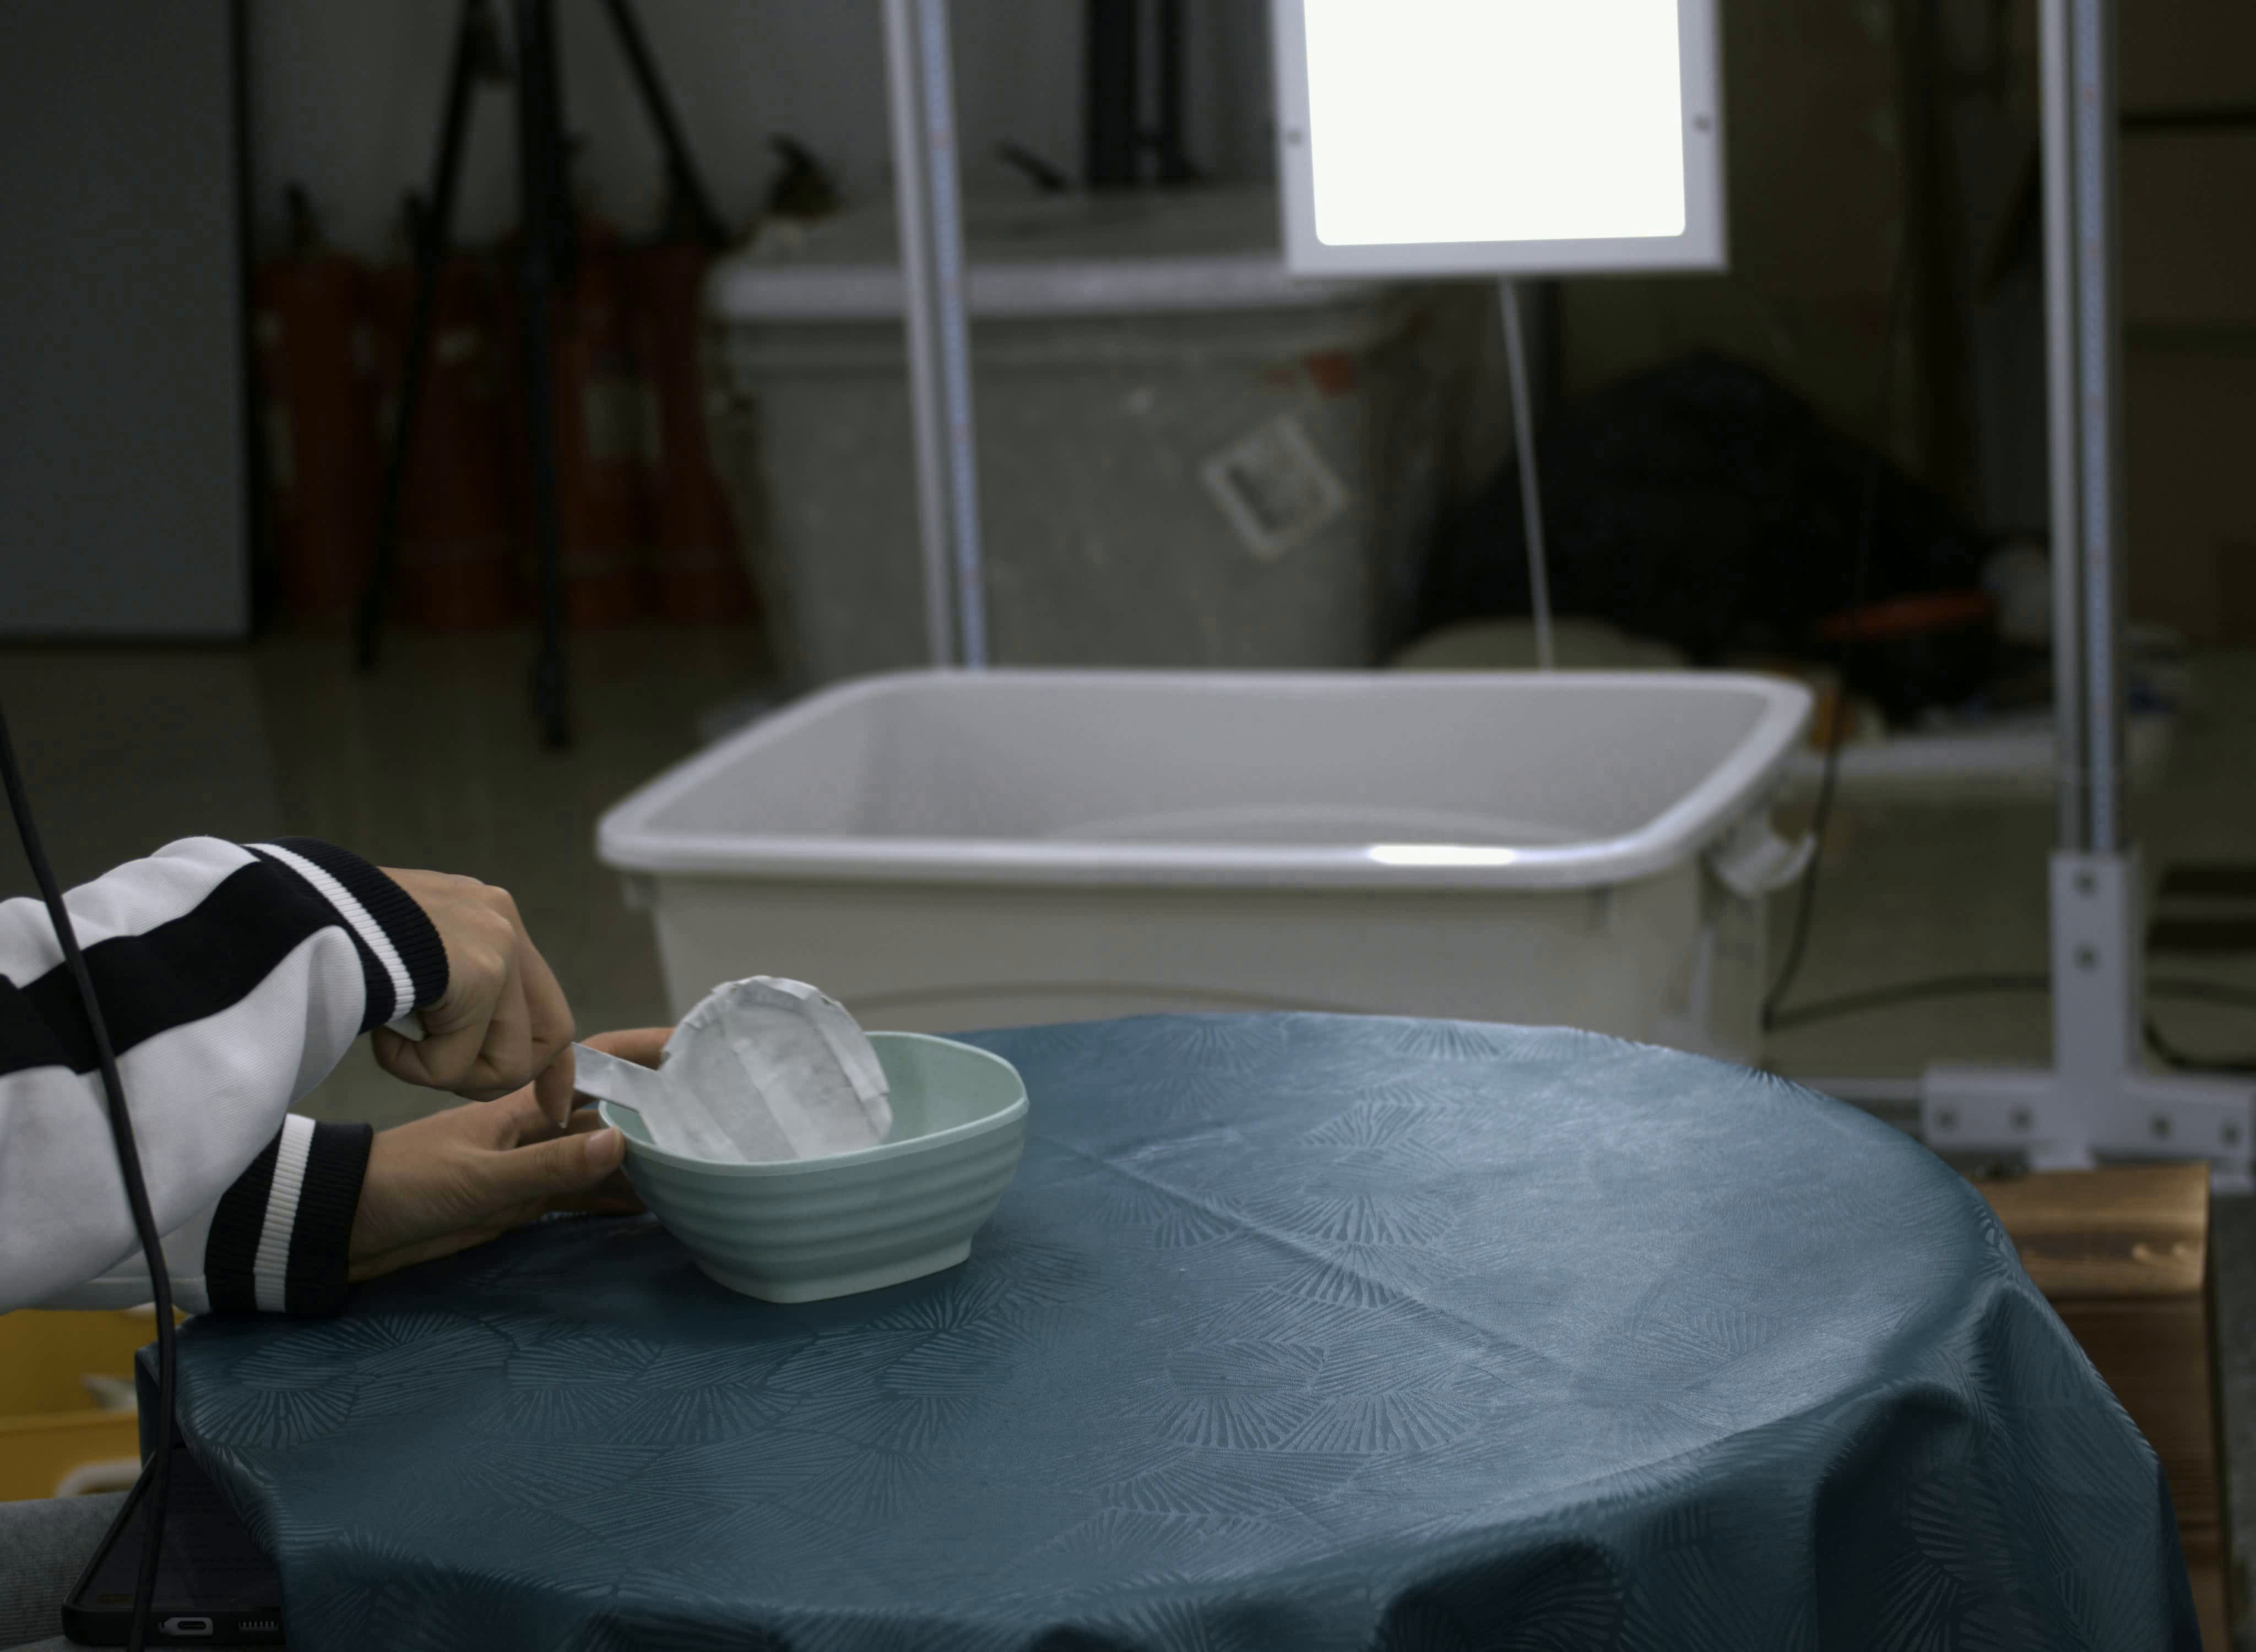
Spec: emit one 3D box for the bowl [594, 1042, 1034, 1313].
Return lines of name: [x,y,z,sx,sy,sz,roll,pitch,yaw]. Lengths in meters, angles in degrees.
bowl: [-0.104,0.121,1.851,0.151,0.059,0.151,-5,13,0]

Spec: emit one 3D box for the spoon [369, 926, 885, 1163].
spoon: [-0.154,0.066,1.758,0.060,0.100,0.274,-5,-17,19]
